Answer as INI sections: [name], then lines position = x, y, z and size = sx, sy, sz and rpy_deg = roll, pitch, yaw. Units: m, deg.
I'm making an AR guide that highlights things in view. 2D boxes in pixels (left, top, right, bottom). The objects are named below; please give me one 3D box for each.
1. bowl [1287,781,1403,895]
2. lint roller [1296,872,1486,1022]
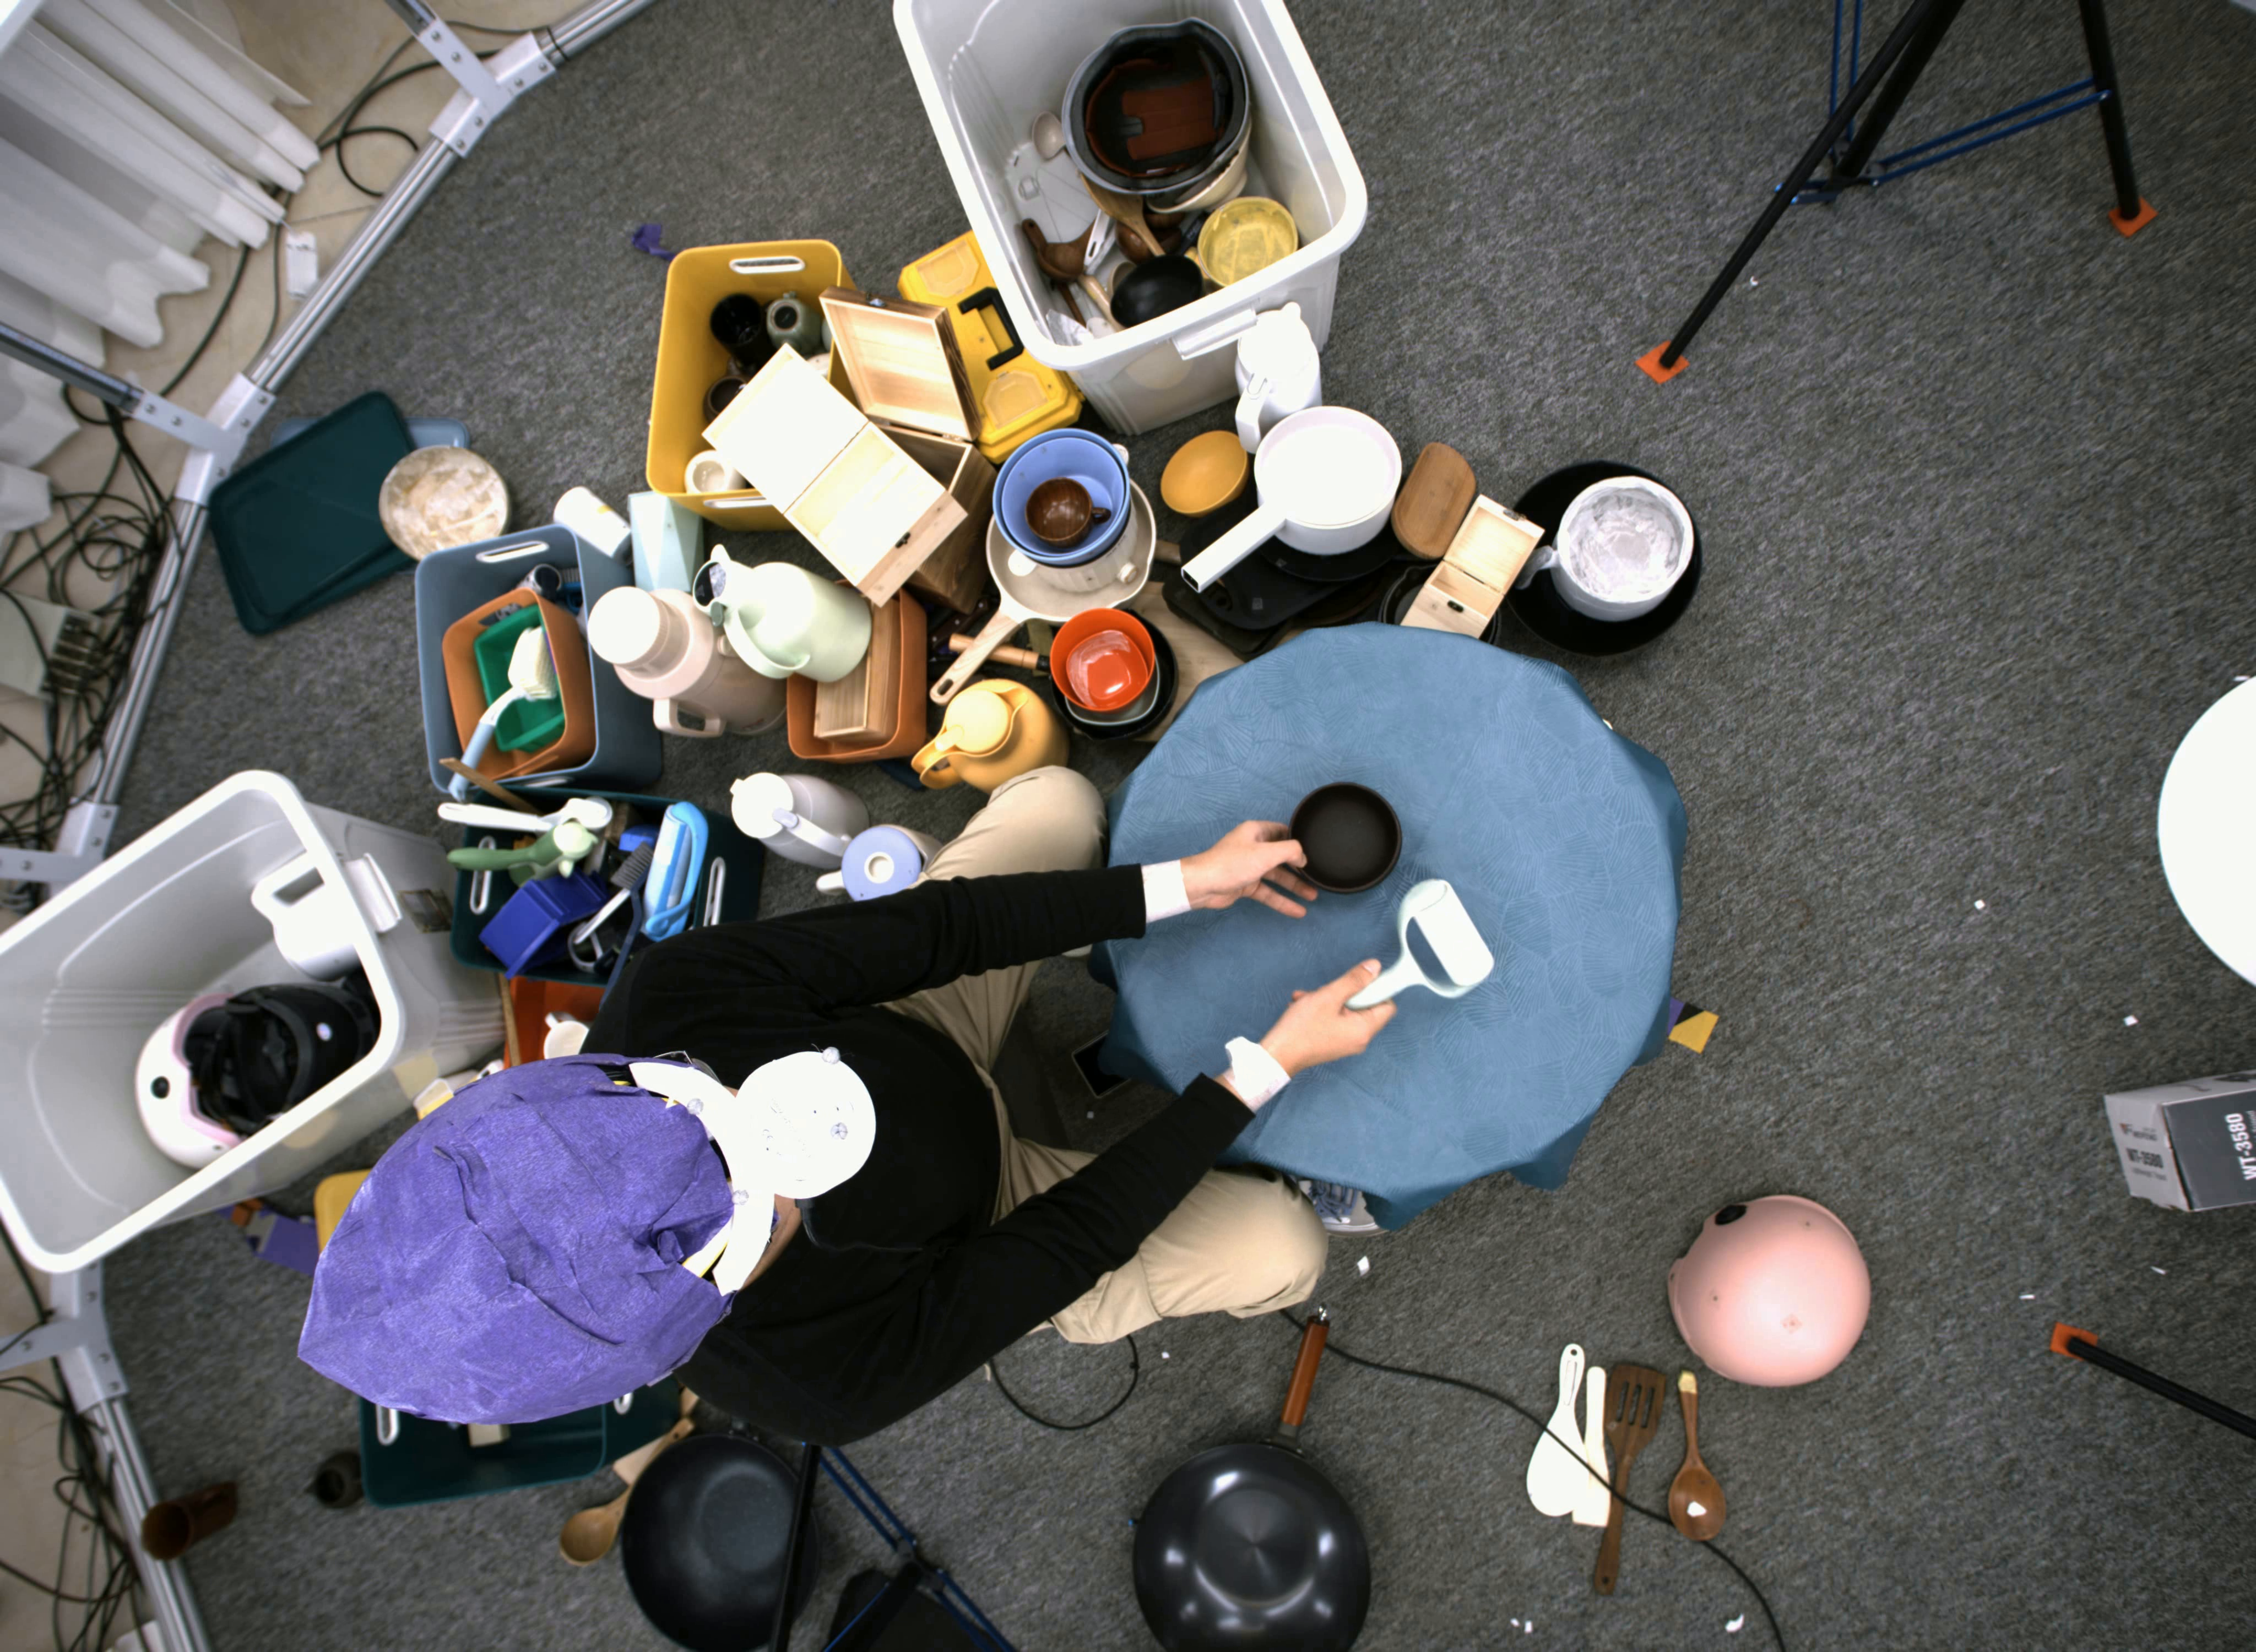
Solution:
[bowl]
position = 0.226, 0.013, 1.435
size = 0.118, 0.070, 0.117
rpy_deg = -1, 87, 12
[lint roller]
position = 0.253, 0.137, 1.373
size = 0.198, 0.047, 0.118
rpy_deg = -35, 119, 5
